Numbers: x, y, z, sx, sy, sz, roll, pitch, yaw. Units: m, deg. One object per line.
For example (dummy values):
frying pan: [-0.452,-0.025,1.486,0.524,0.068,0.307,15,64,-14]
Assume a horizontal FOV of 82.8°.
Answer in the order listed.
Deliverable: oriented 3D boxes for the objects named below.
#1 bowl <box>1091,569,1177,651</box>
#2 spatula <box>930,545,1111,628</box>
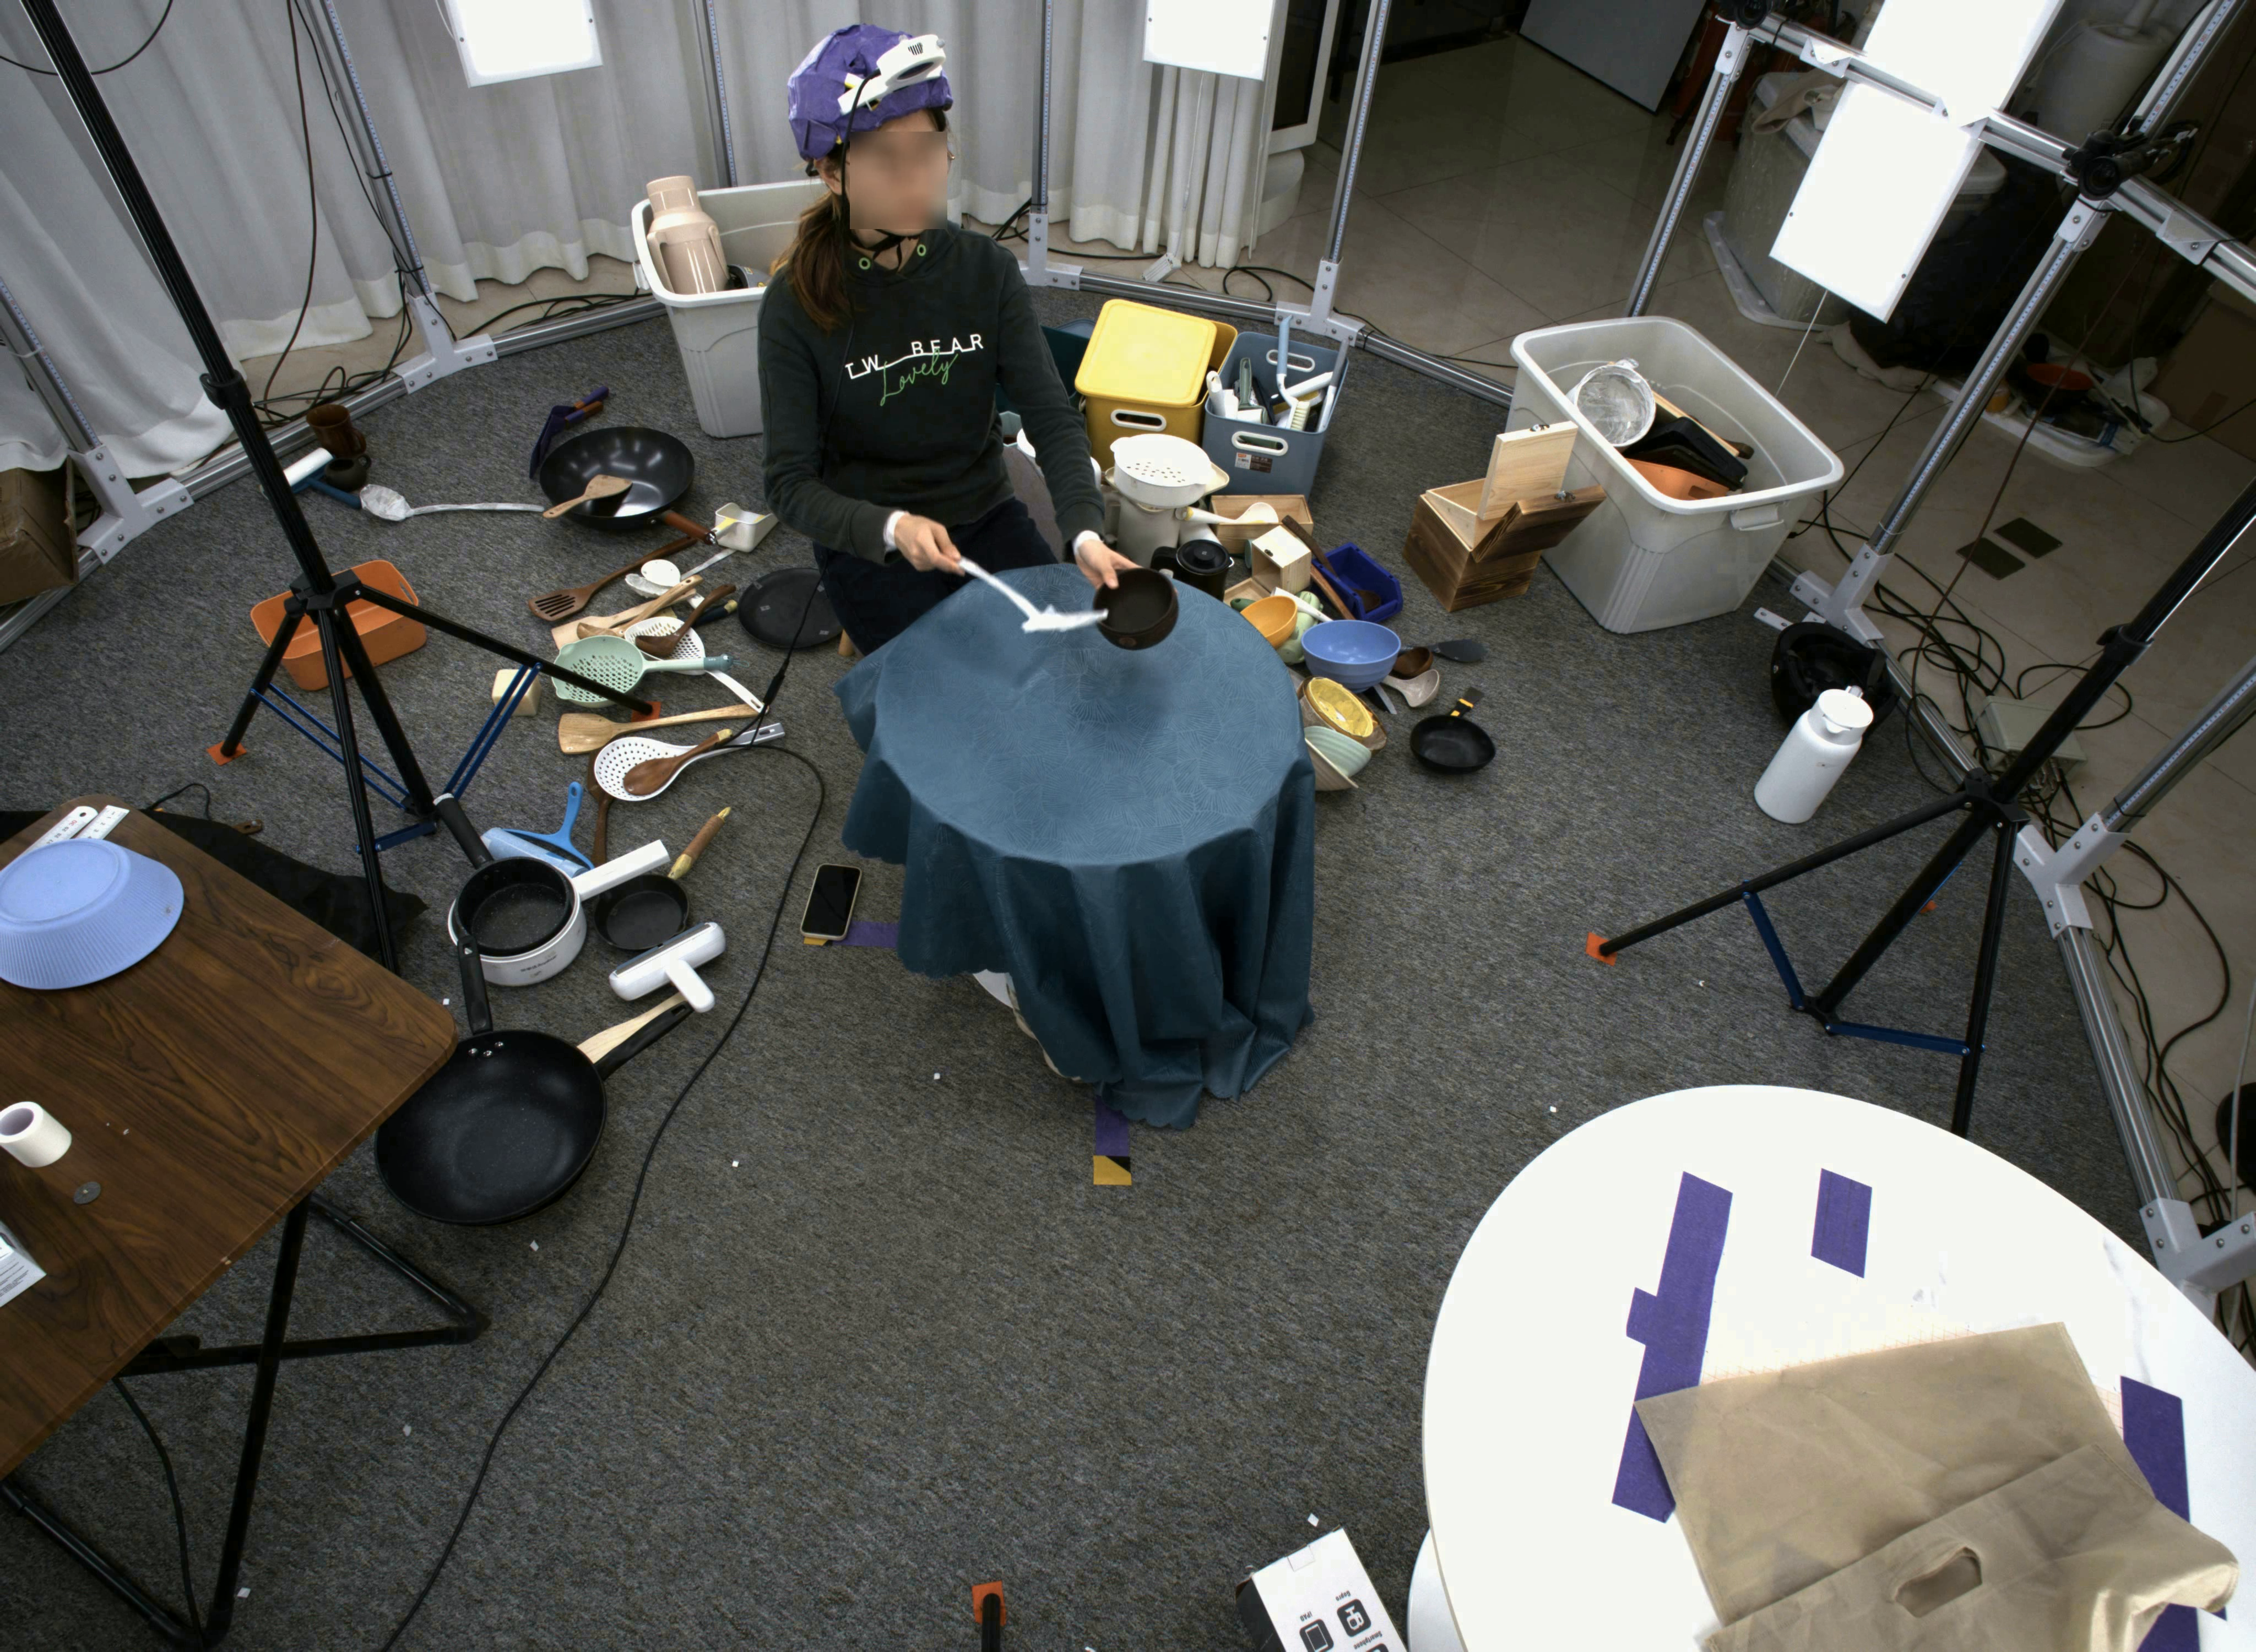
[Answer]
bowl: [0.012,-0.295,1.802,0.118,0.068,0.121,-7,56,10]
spatula: [-0.166,-0.329,1.725,0.099,0.044,0.371,-22,42,-34]
